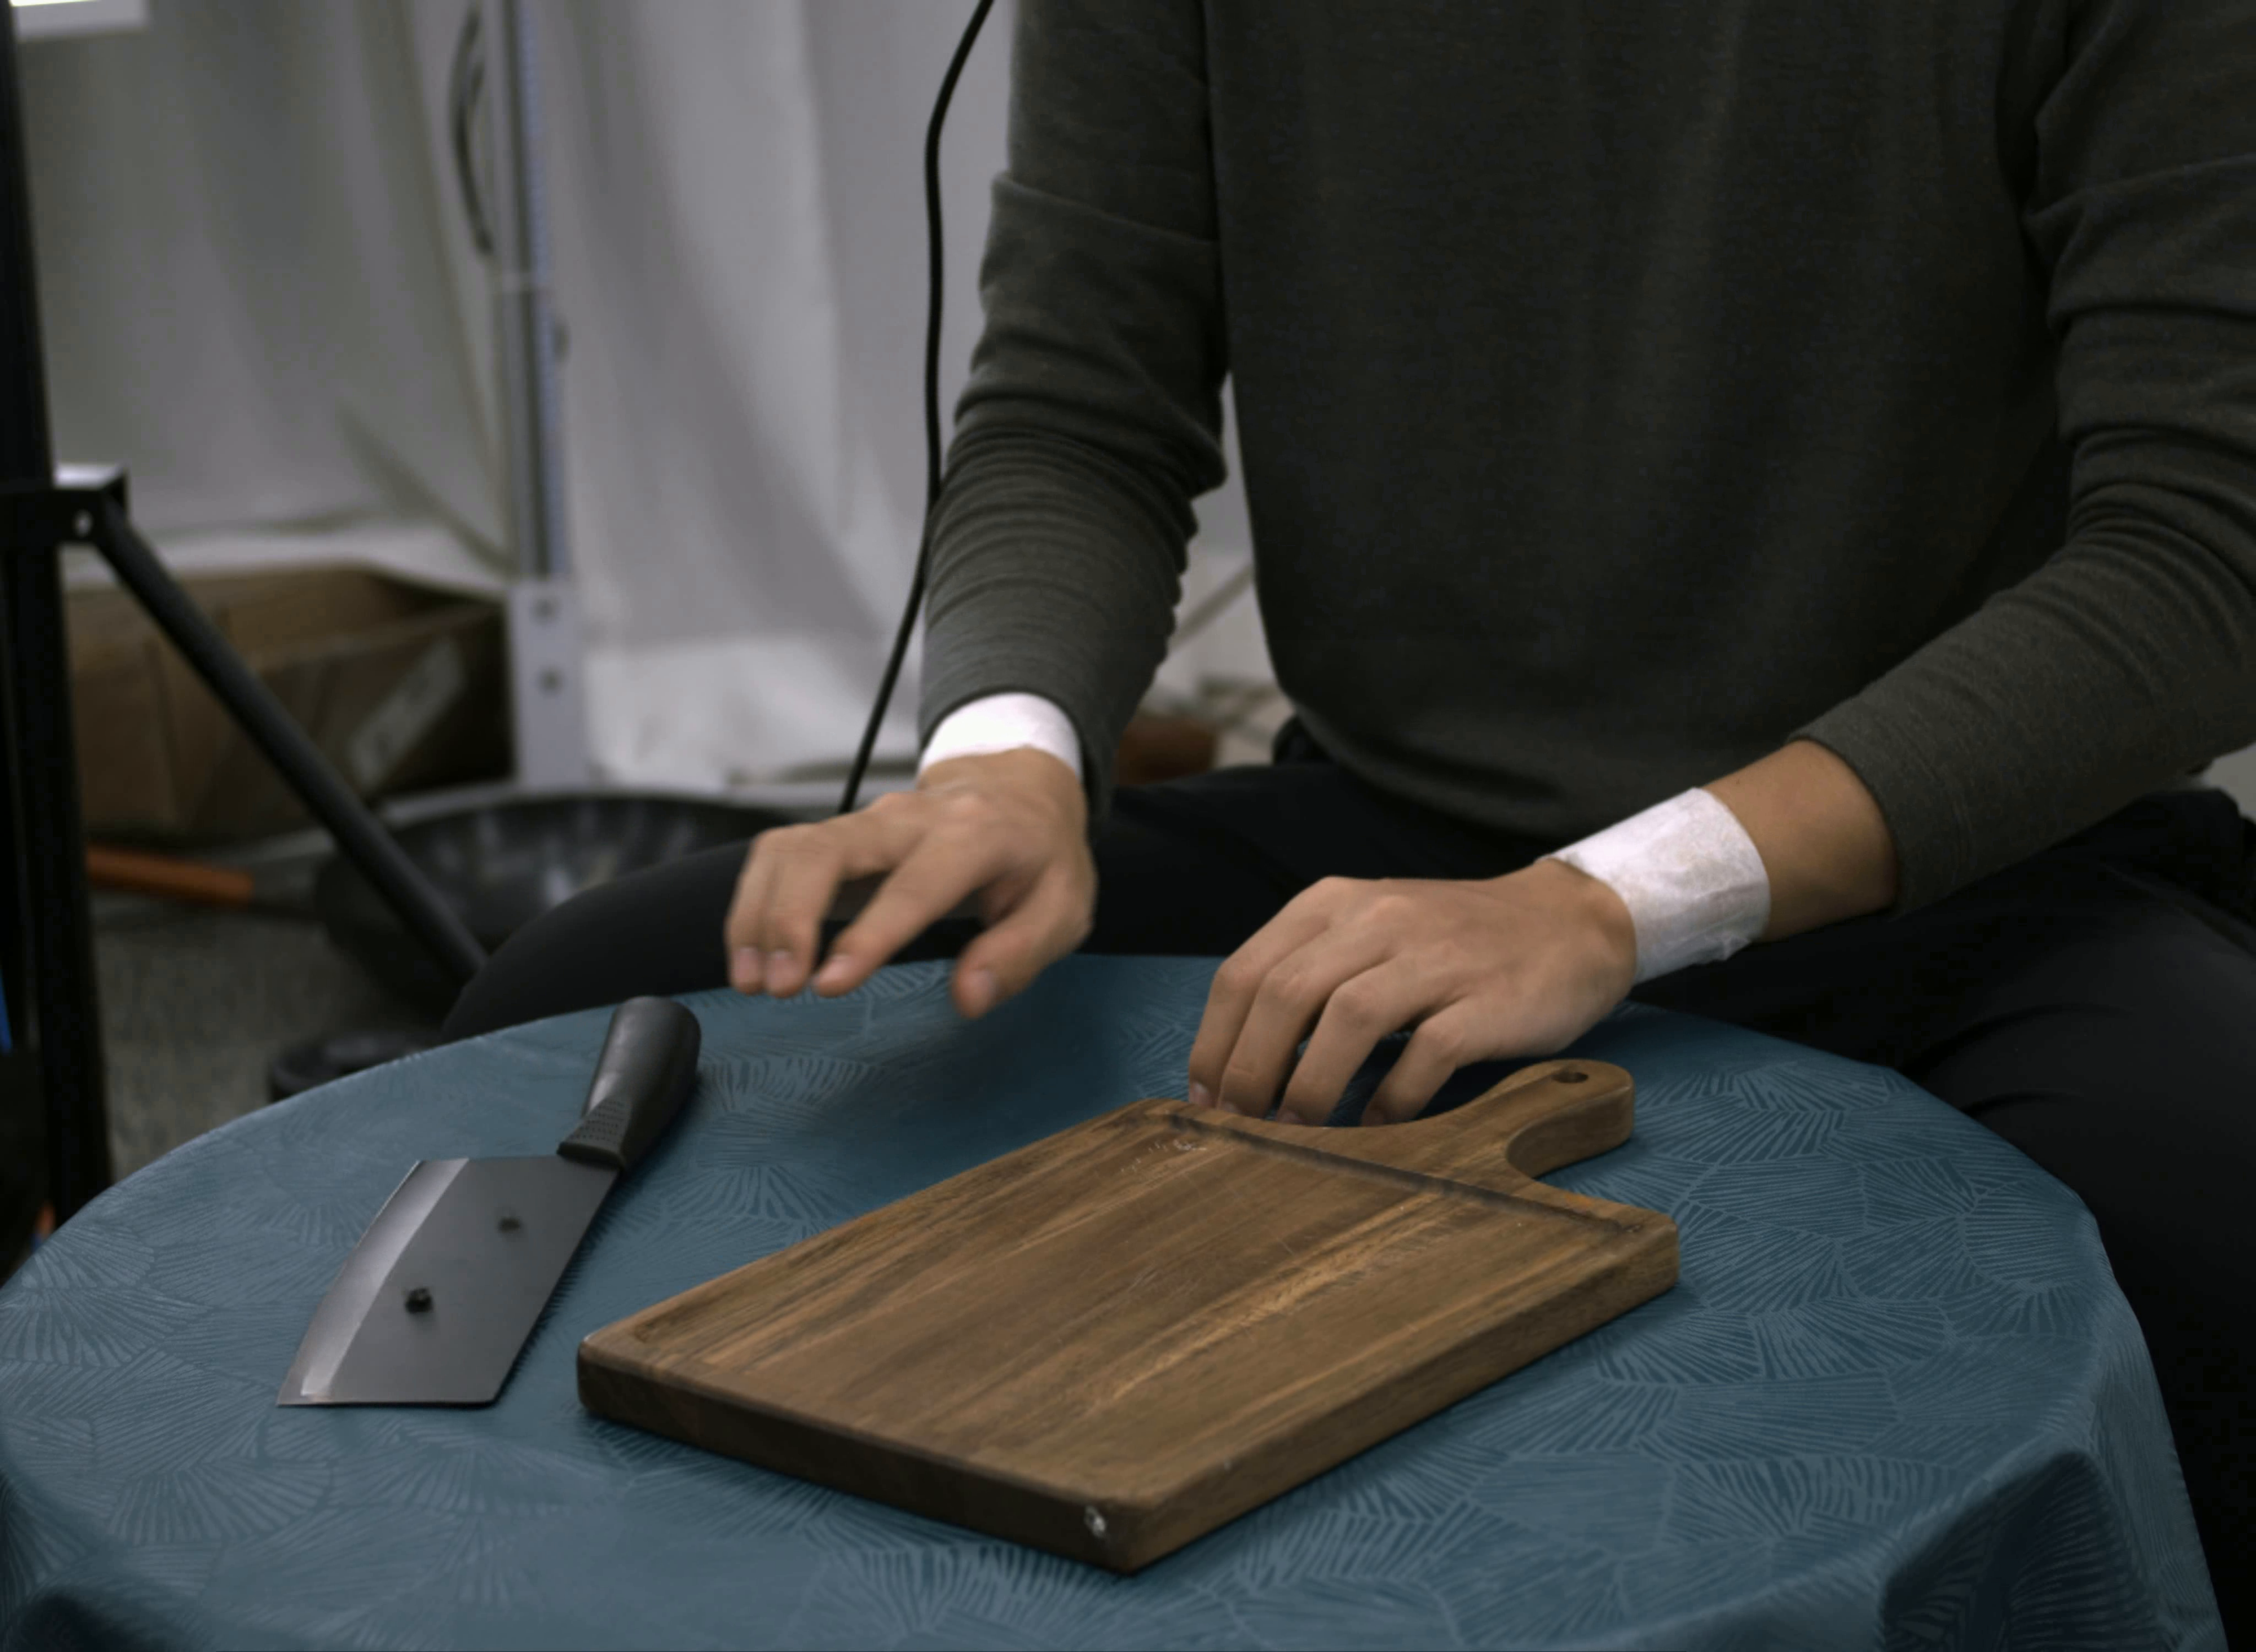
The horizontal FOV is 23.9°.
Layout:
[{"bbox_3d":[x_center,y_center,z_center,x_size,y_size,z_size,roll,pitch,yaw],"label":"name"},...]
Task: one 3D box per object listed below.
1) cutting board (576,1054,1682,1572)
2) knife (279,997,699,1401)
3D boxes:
[{"bbox_3d":[0.035,0.120,1.475,0.205,0.023,0.344,11,21,38],"label":"cutting board"},{"bbox_3d":[-0.179,0.108,1.565,0.081,0.021,0.301,0,18,12],"label":"knife"}]
